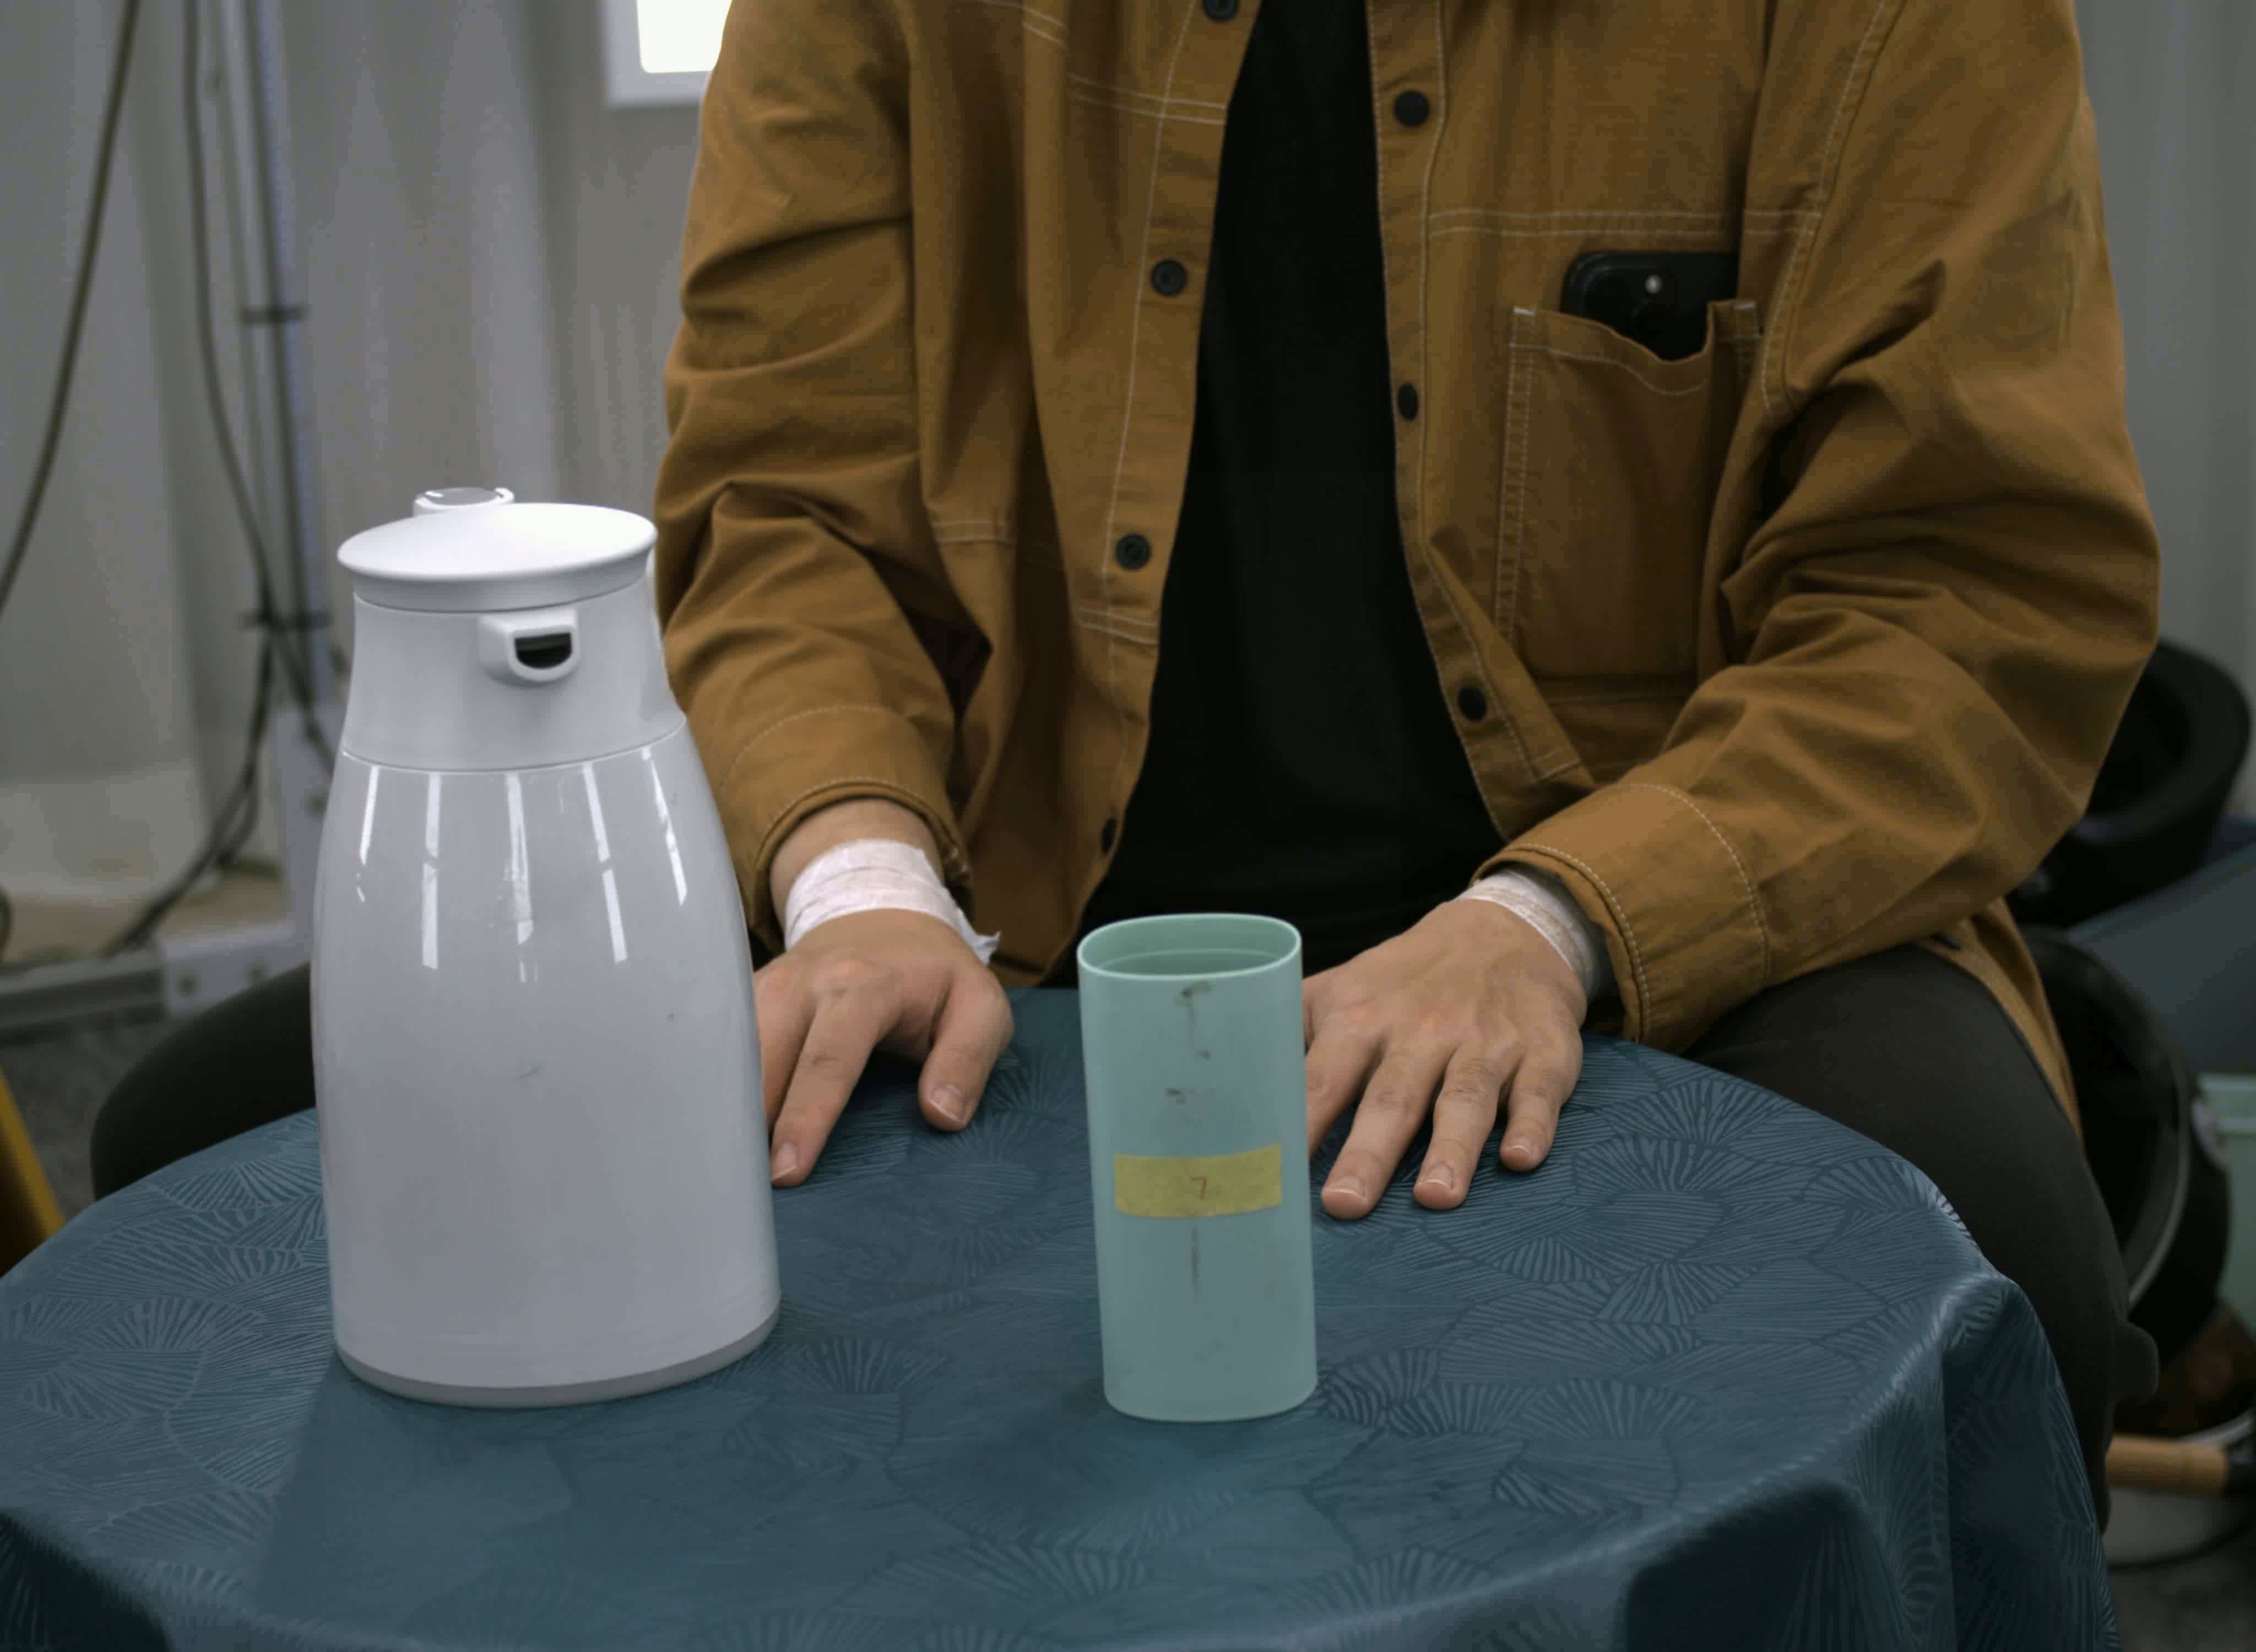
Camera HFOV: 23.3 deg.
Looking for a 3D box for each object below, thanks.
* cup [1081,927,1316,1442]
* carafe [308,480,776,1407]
[{"bbox_3d":[0.021,0.099,1.530,0.066,0.132,0.067,-2,13,0],"label":"cup"},{"bbox_3d":[-0.182,0.026,1.606,0.132,0.248,0.169,-7,14,-17],"label":"carafe"}]
